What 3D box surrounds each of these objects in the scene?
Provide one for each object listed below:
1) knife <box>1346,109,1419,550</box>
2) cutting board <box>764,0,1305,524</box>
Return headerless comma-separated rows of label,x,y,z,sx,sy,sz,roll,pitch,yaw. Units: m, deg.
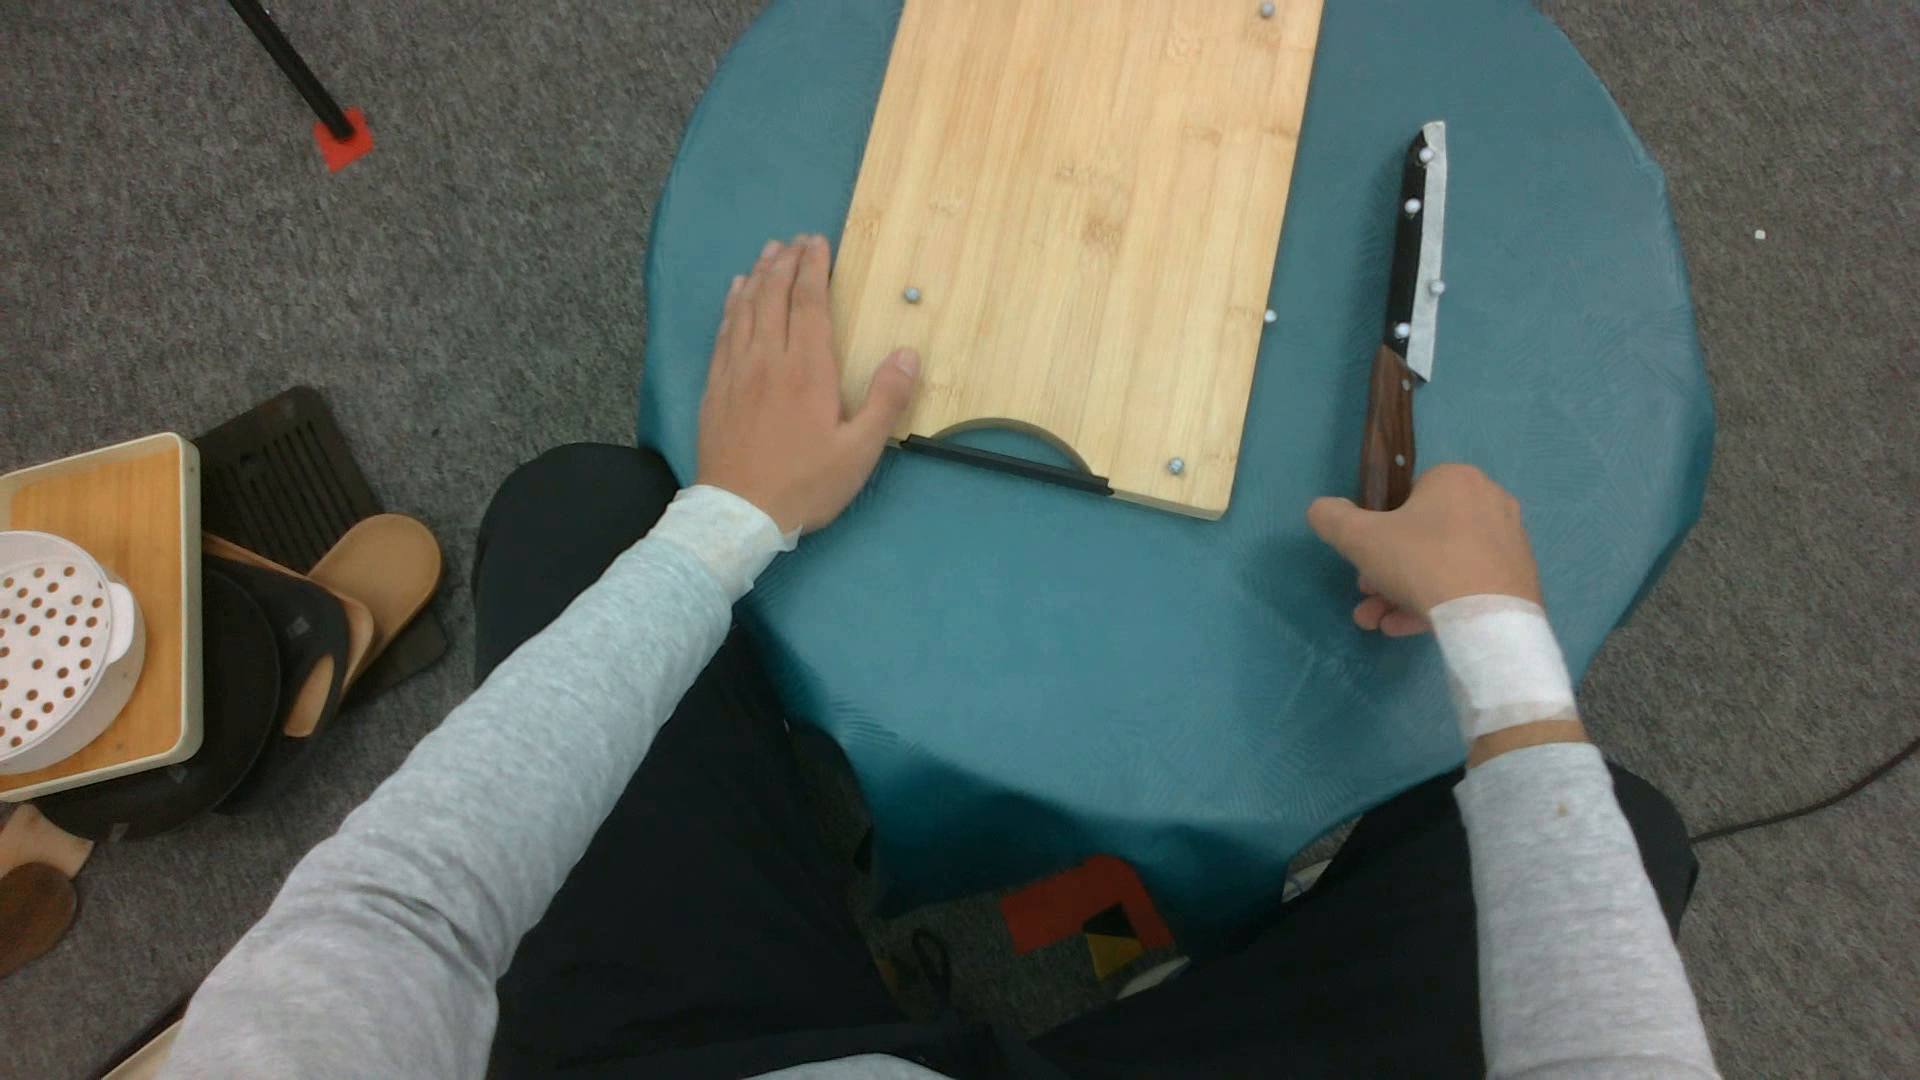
knife,0.240,-0.125,0.770,0.050,0.020,0.290,27,64,-34
cutting board,0.051,-0.198,0.792,0.251,0.023,0.349,12,74,1
